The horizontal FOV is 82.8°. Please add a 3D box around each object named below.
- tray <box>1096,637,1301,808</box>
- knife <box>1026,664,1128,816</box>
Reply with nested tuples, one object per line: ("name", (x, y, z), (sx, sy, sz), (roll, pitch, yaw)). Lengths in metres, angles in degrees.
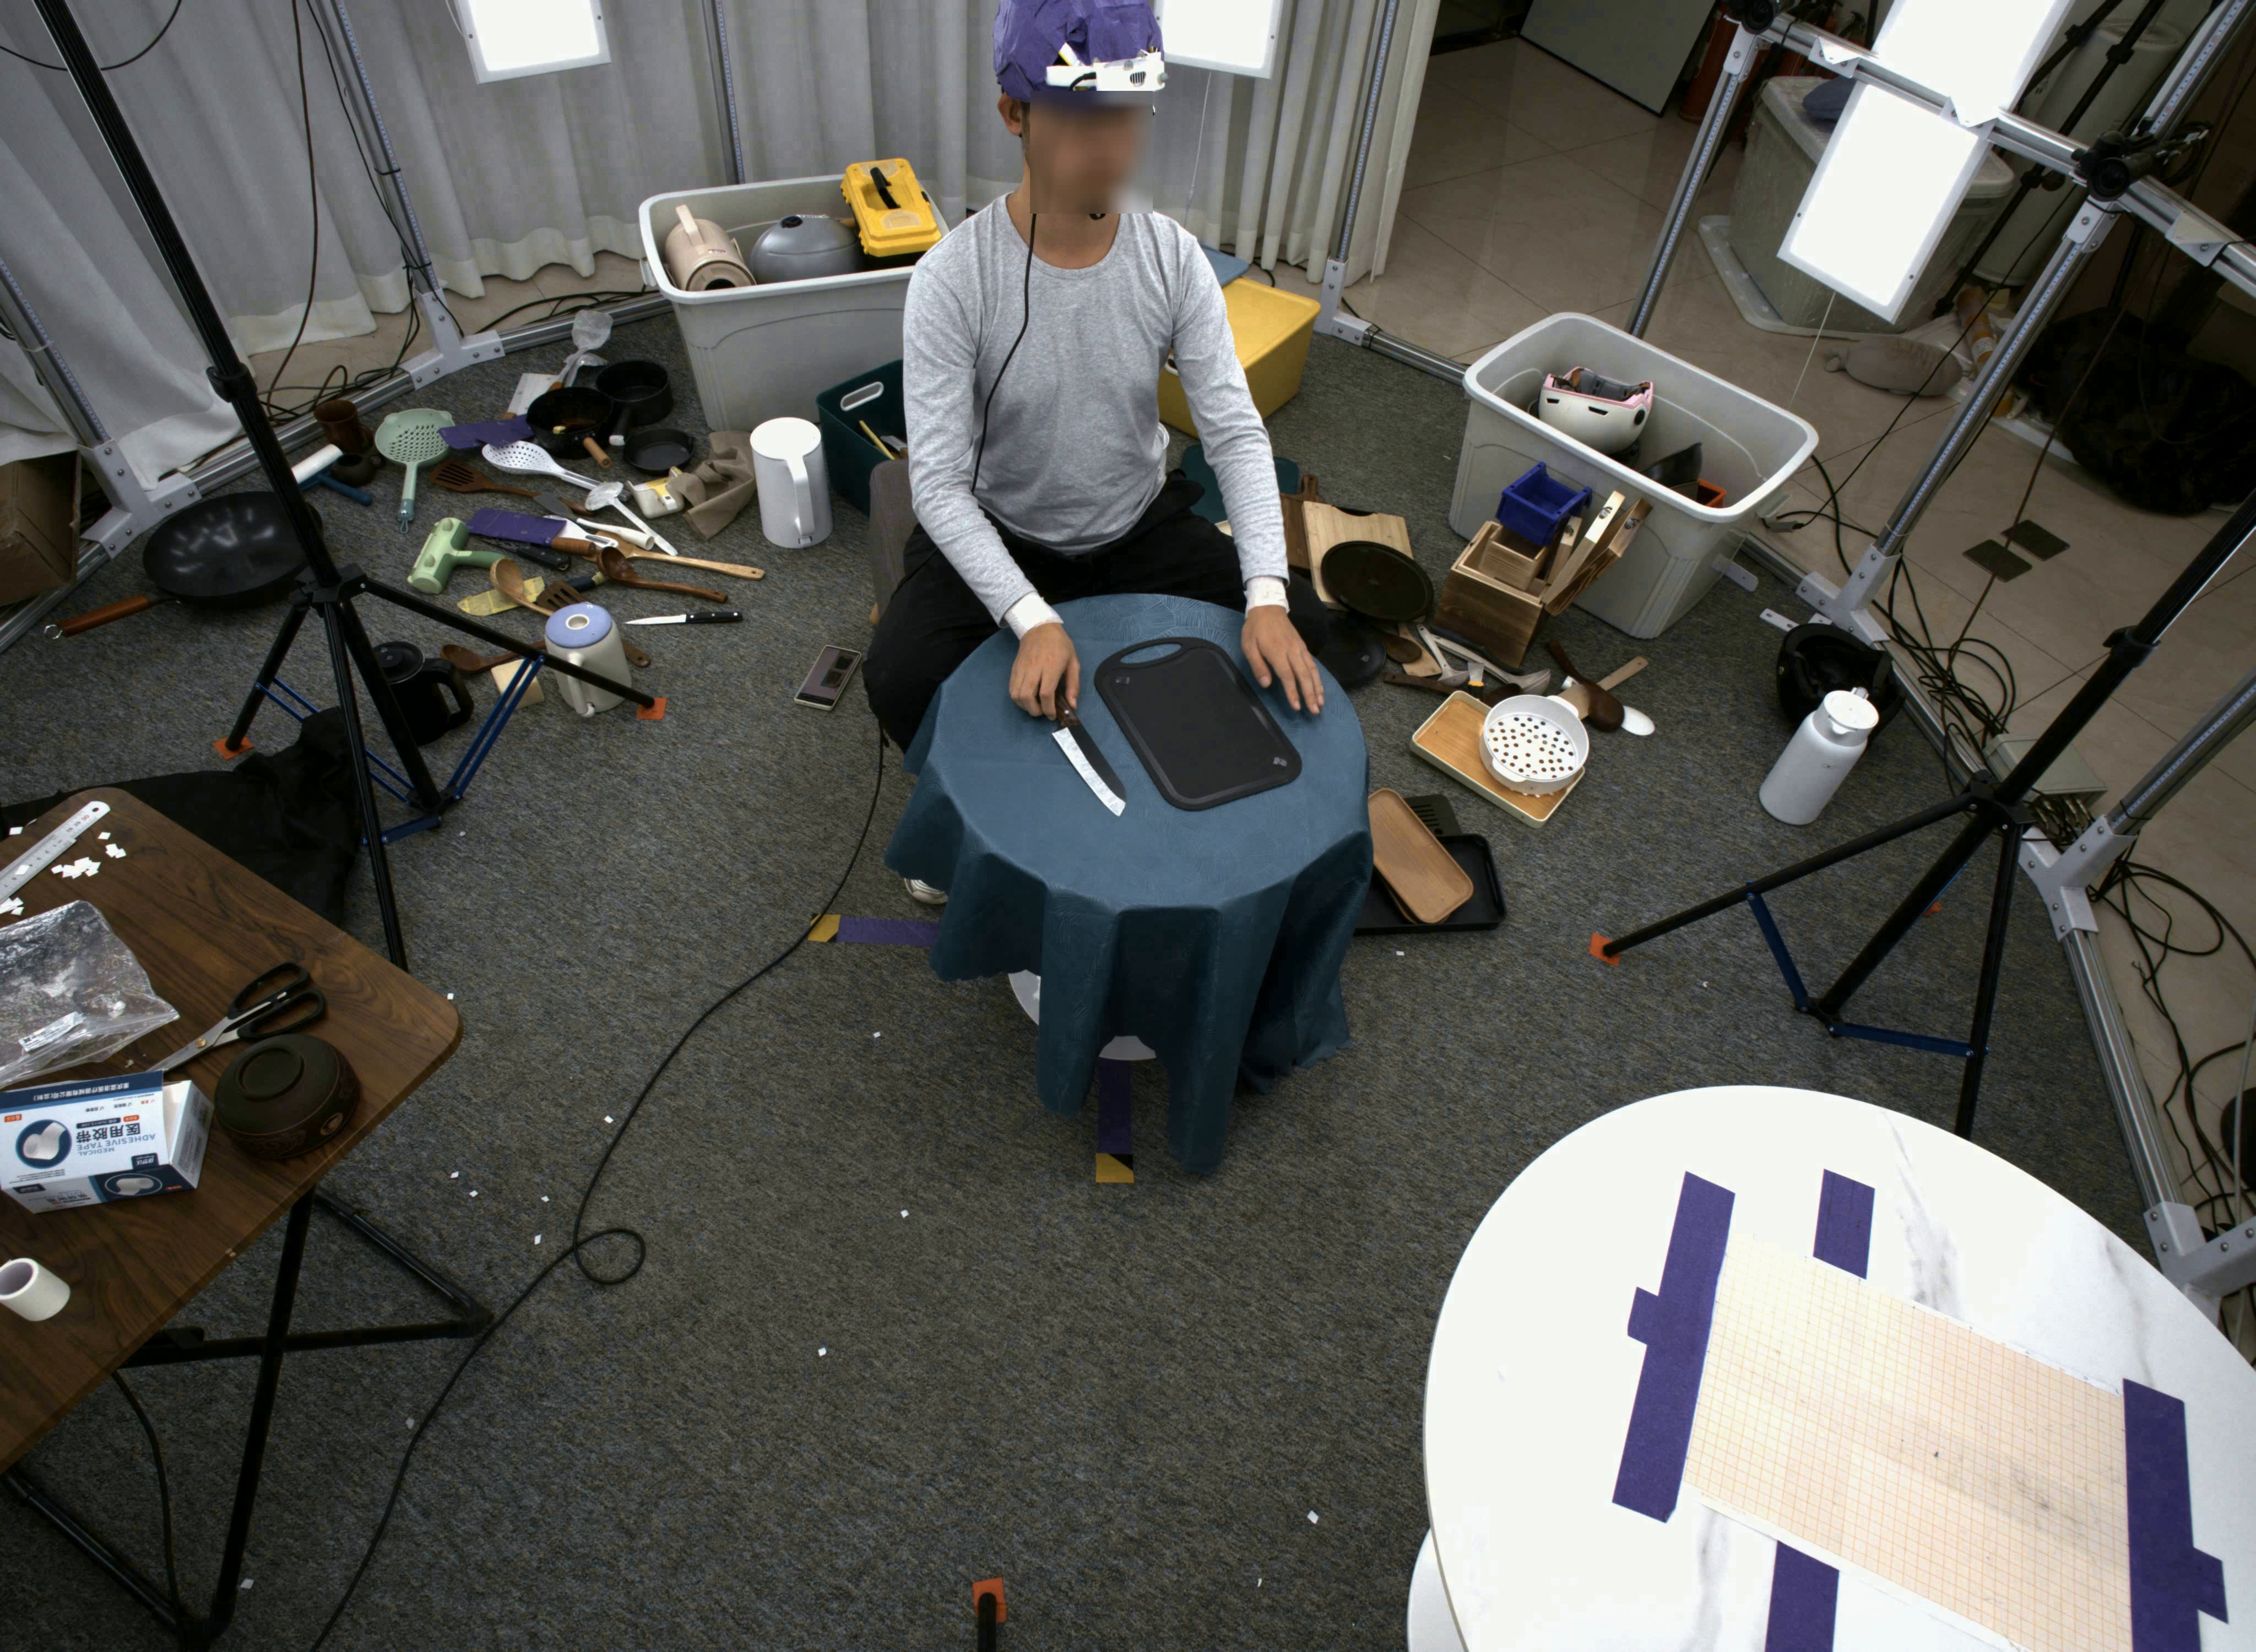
("tray", (0.091, -0.157, 1.806), (0.211, 0.009, 0.333), (-16, 52, -17))
("knife", (-0.072, -0.120, 1.757), (0.050, 0.019, 0.295), (-22, 56, -15))
